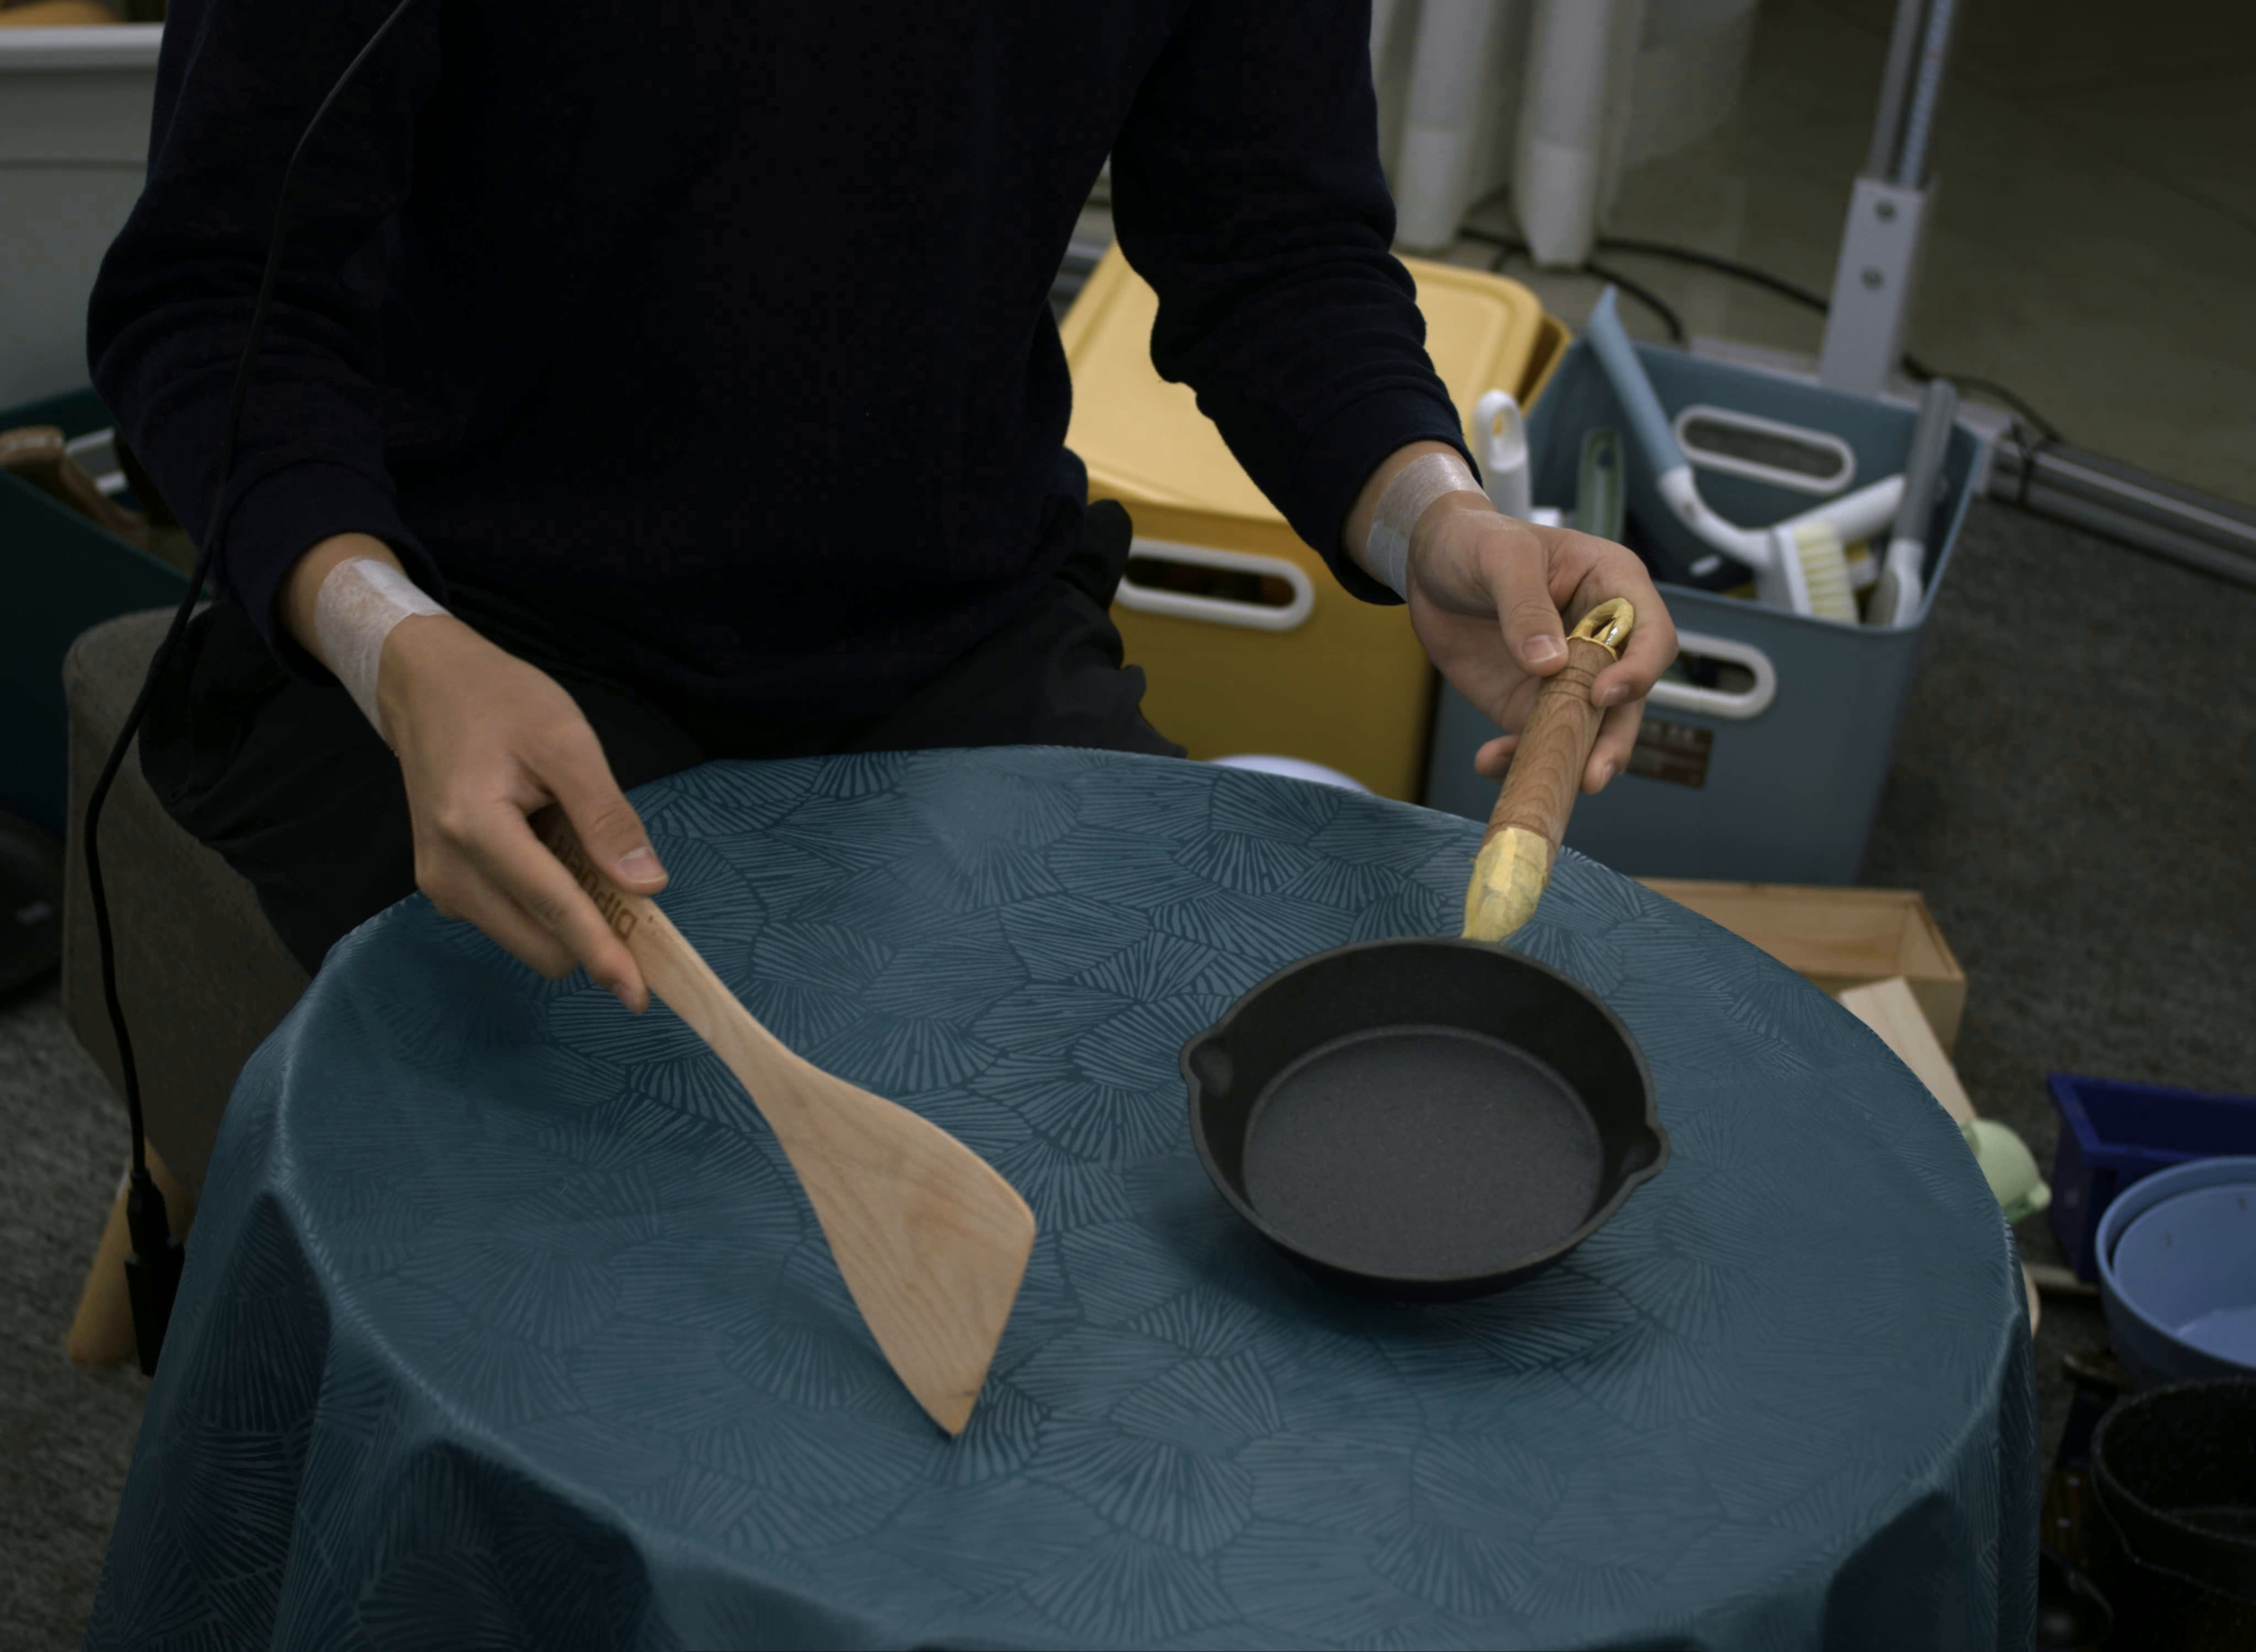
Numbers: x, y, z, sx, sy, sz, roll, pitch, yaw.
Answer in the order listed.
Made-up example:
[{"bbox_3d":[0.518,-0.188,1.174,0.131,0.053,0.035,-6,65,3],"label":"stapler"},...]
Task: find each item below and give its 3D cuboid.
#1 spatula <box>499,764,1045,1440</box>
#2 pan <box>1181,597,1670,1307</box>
[{"bbox_3d":[-0.125,0.073,1.746,0.016,0.080,0.330,9,27,-46],"label":"spatula"},{"bbox_3d":[0.127,0.041,1.840,0.169,0.049,0.325,13,47,15],"label":"pan"}]
